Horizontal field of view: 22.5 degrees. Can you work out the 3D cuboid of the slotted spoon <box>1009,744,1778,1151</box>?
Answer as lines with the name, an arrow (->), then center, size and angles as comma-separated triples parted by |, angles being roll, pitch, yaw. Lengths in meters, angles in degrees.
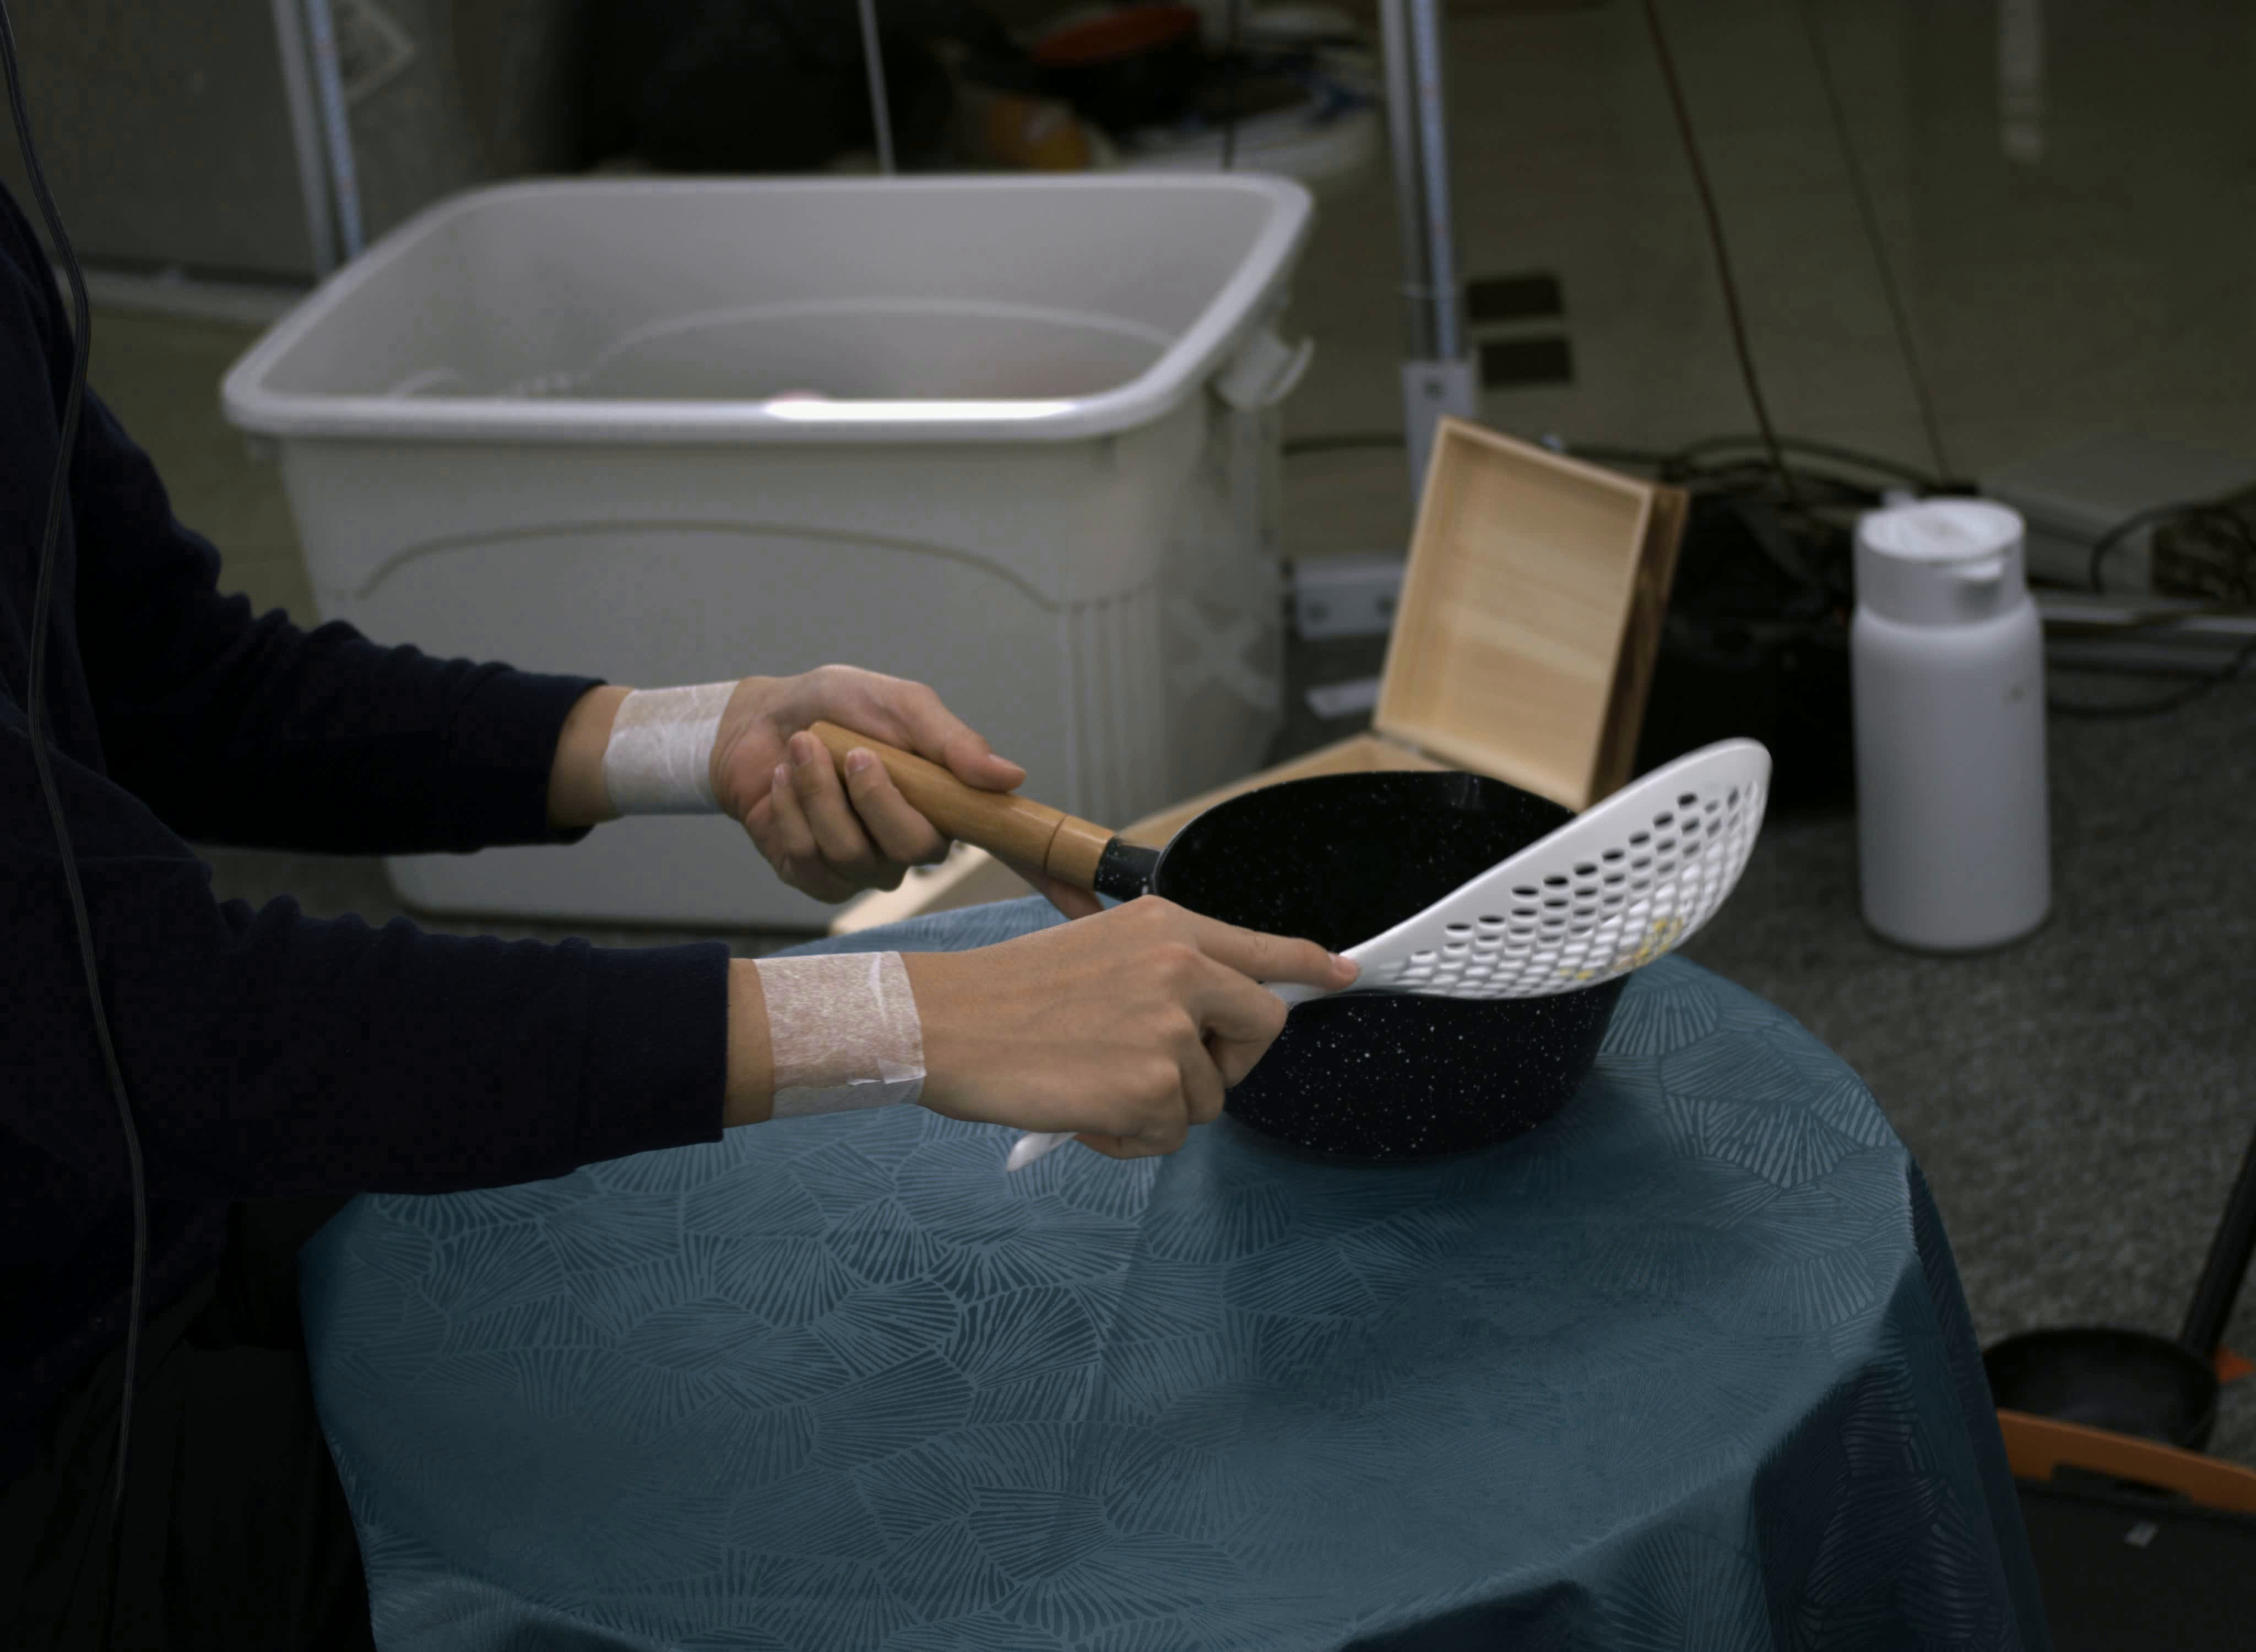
slotted spoon -> 0.093, 0.053, 1.989 | 0.346, 0.139, 0.050 | -15, 67, -30

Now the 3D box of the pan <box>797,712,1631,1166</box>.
pan -> 0.028, 0.034, 2.202 | 0.341, 0.110, 0.204 | 10, 31, 18
